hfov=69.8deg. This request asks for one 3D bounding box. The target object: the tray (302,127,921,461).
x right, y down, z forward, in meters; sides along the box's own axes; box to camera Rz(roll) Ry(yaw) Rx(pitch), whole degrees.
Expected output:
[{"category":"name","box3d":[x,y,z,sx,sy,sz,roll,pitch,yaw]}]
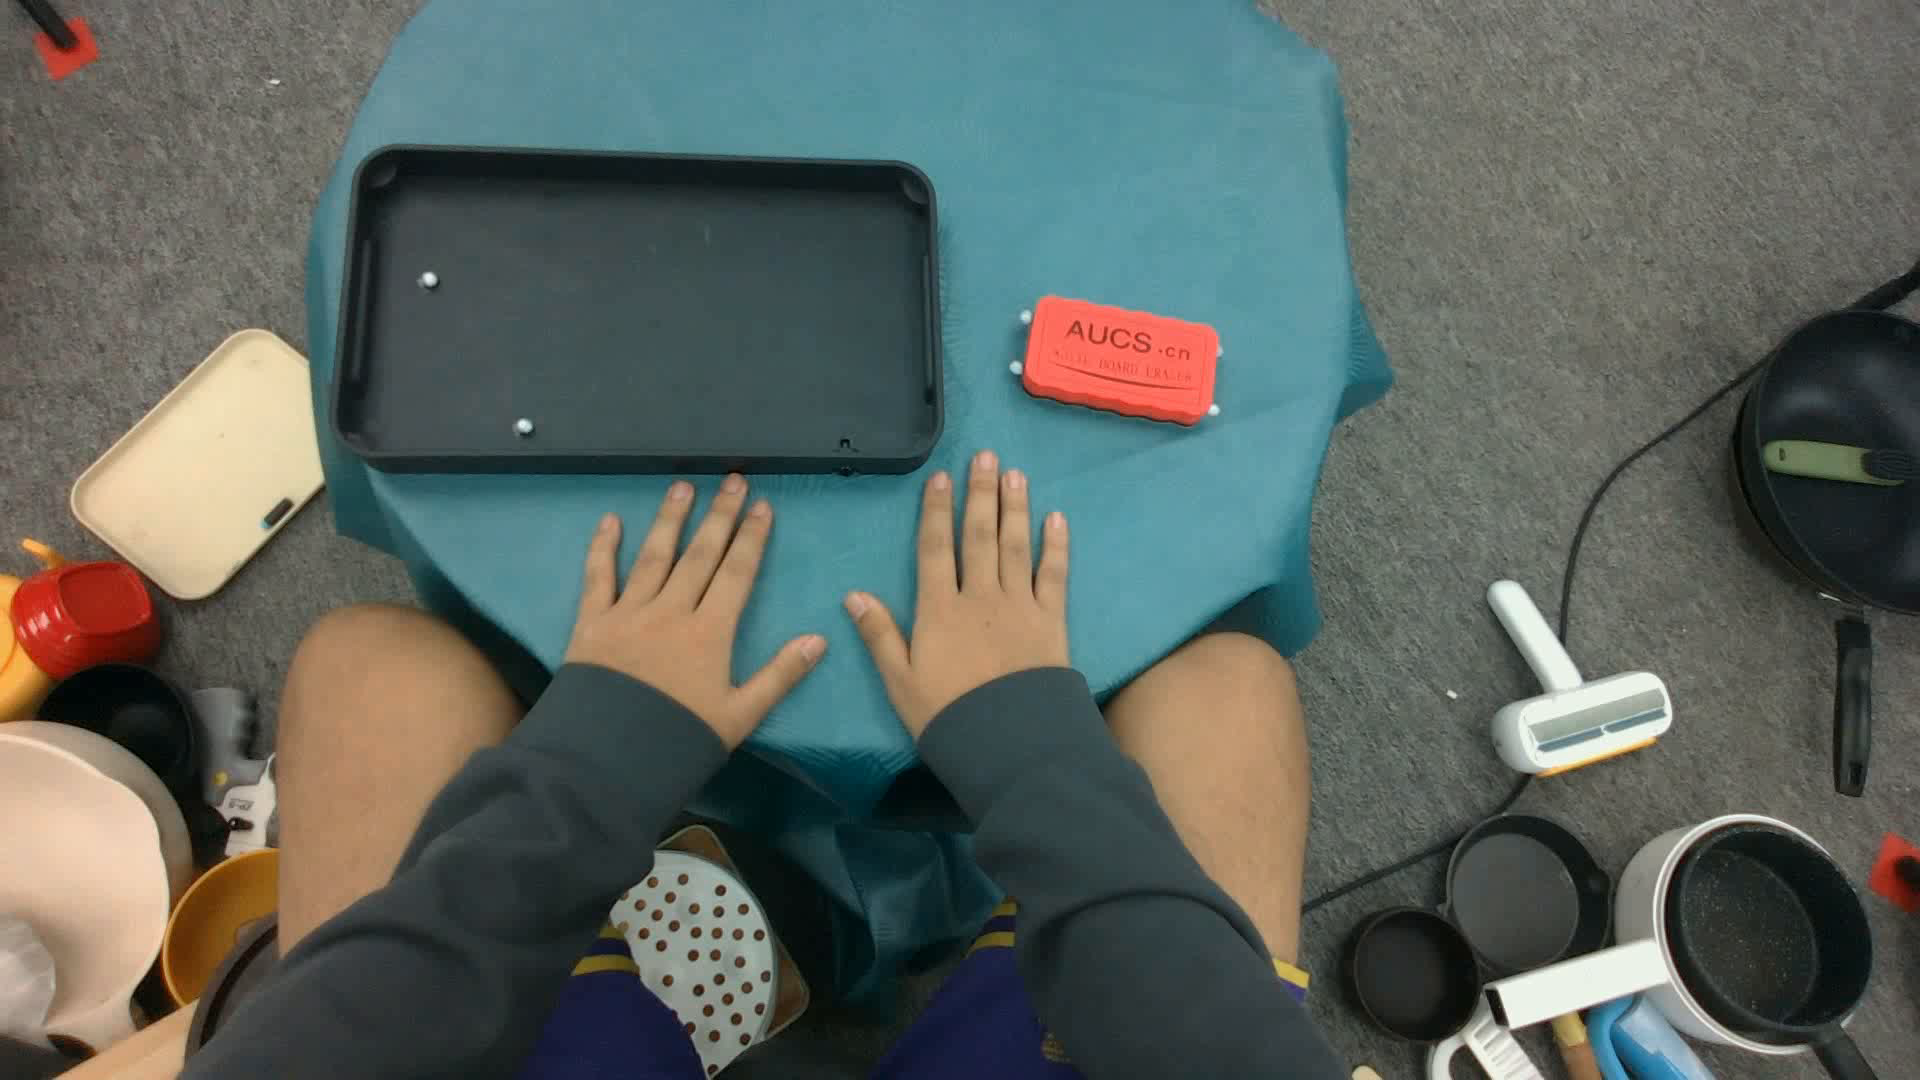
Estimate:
[{"category":"tray","box3d":[-0.185,-0.135,0.759,0.318,0.037,0.184,-1,74,-9]}]

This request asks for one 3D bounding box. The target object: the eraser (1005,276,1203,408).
[{"category":"eraser","box3d":[0.083,-0.113,0.790,0.108,0.023,0.059,10,78,-6]}]
